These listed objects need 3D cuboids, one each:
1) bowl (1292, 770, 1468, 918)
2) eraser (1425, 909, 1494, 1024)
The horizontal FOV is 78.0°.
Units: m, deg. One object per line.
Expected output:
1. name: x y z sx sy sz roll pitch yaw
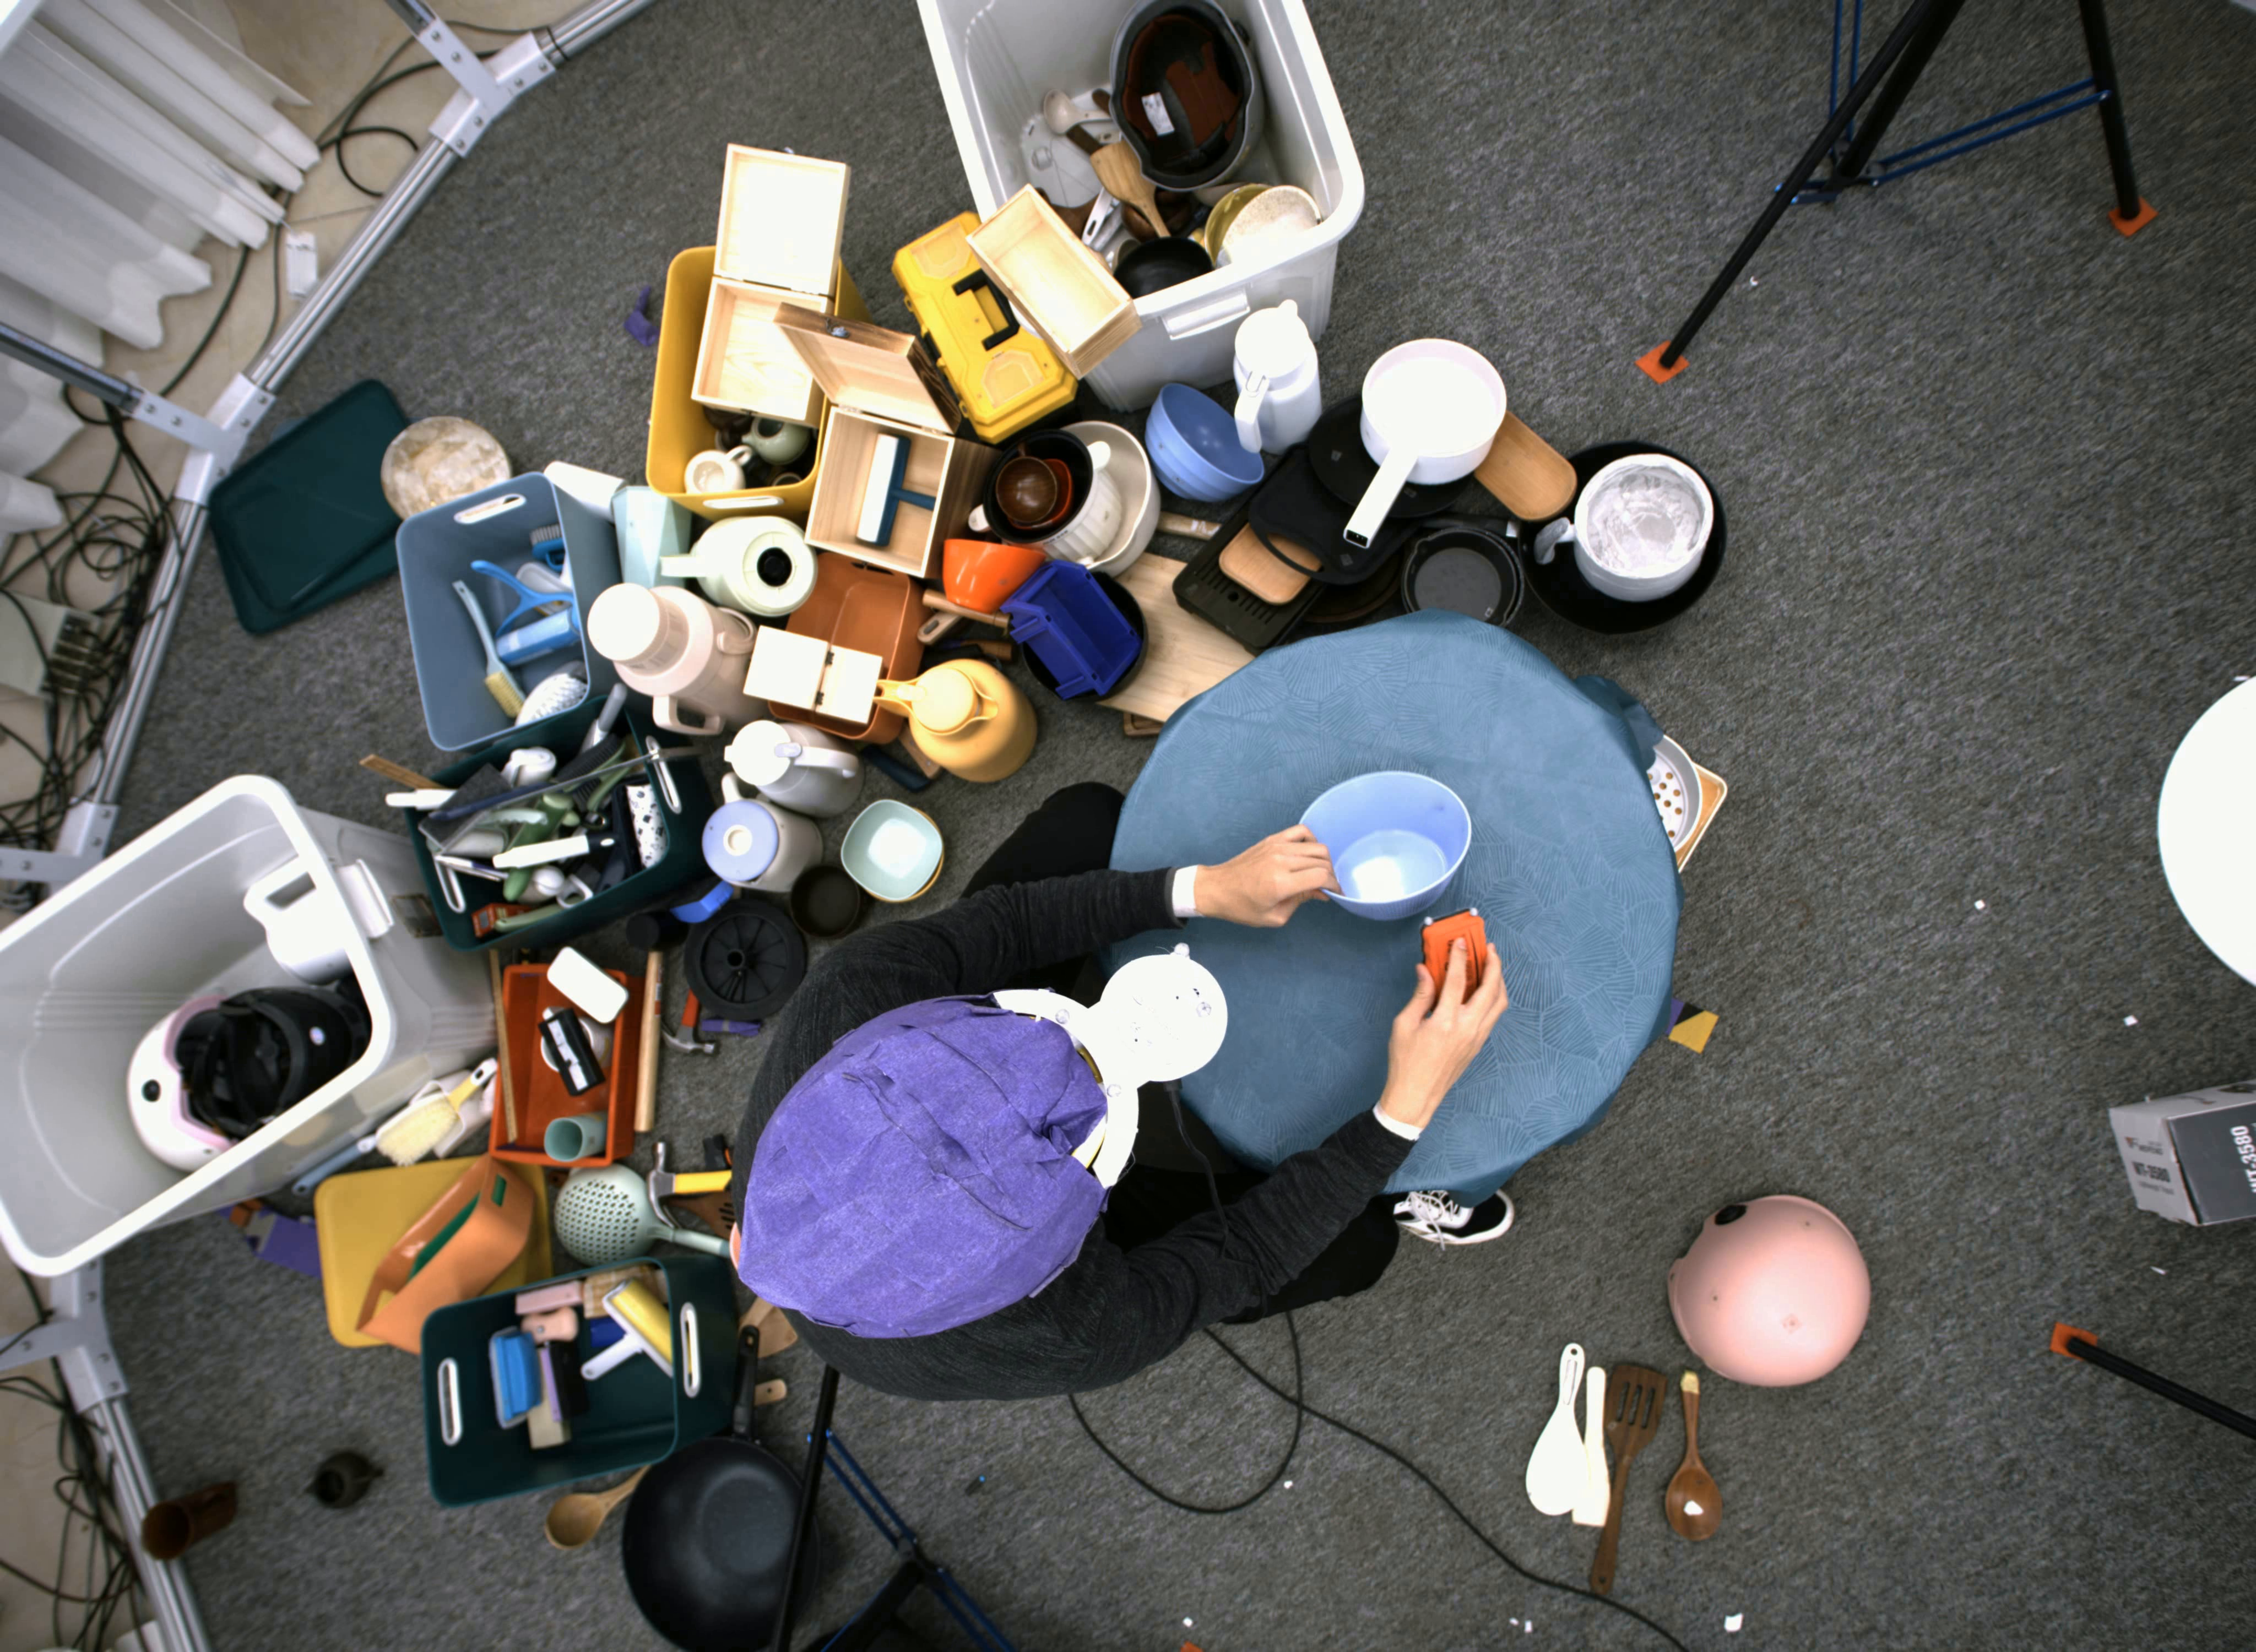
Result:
1. bowl: 0.258 0.027 1.397 0.177 0.072 0.171 -12 48 12
2. eraser: 0.321 0.135 1.331 0.059 0.022 0.110 -16 117 -7
